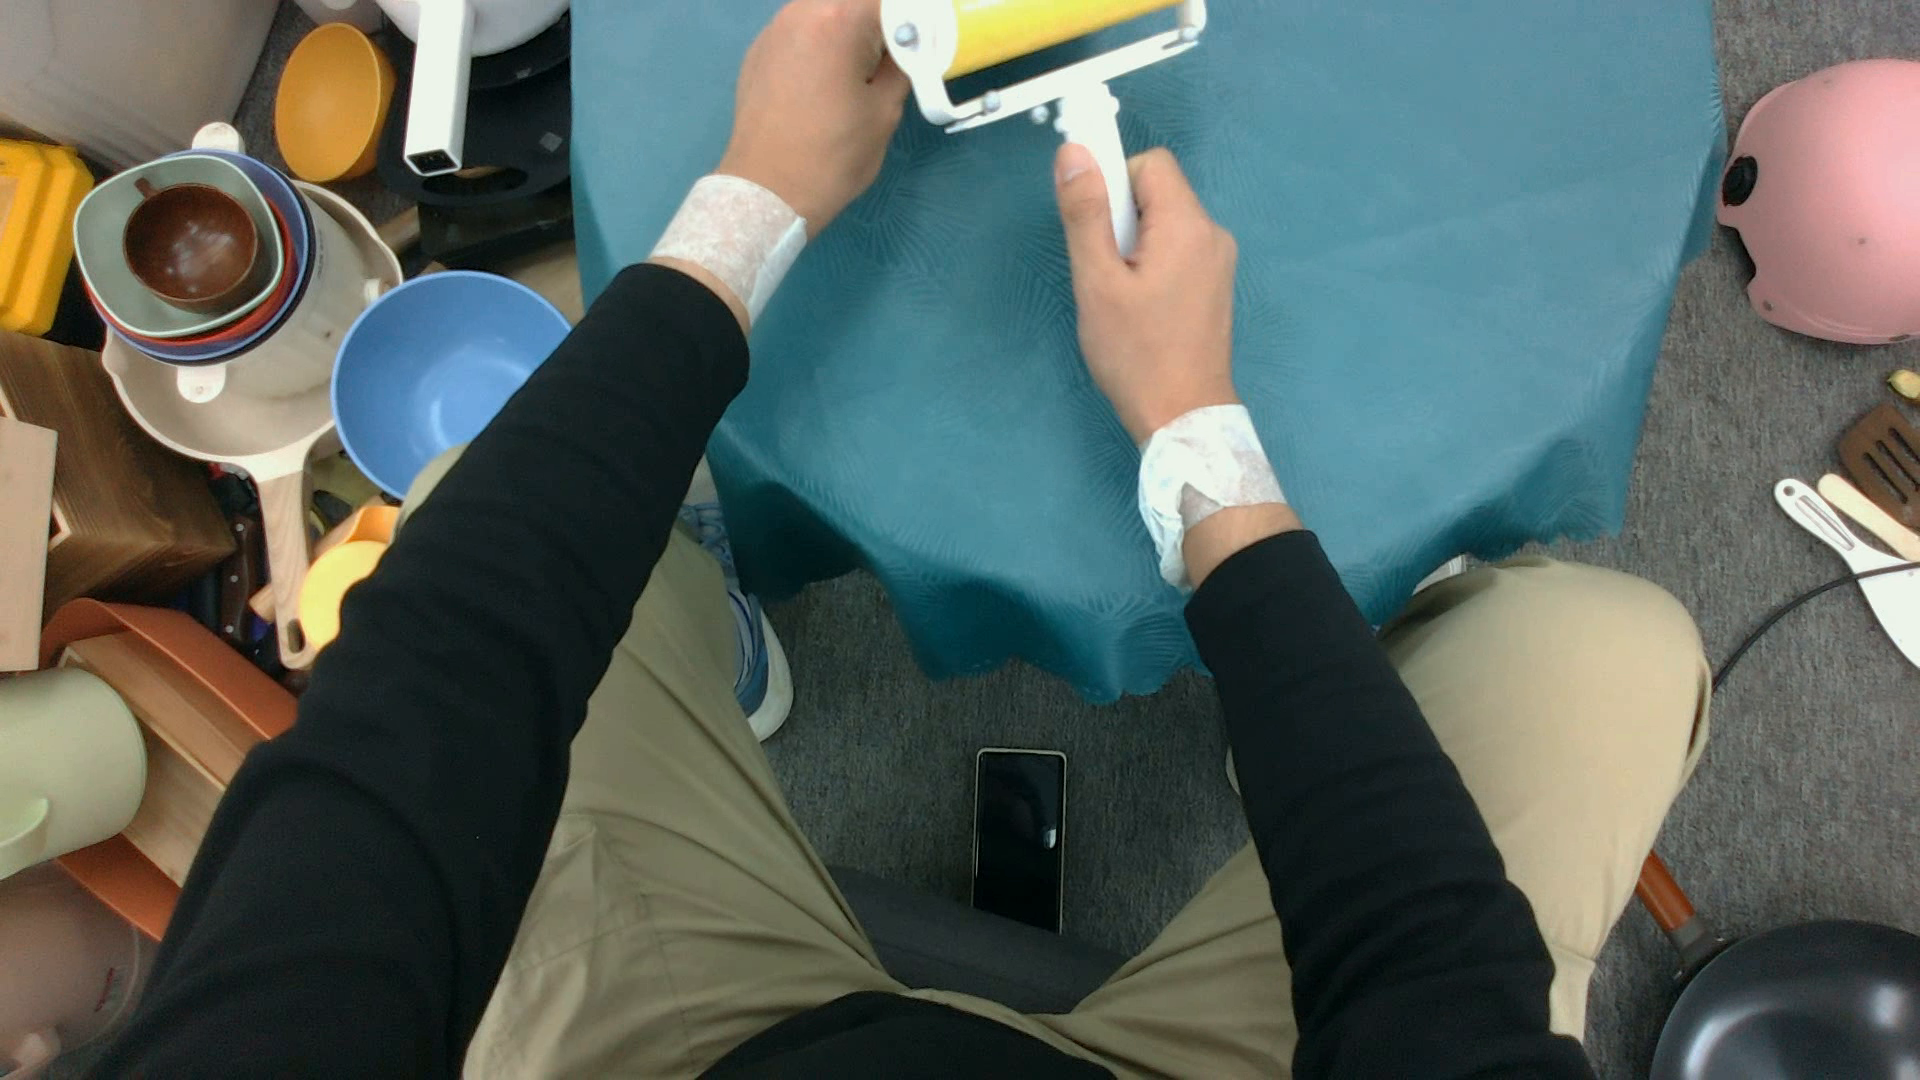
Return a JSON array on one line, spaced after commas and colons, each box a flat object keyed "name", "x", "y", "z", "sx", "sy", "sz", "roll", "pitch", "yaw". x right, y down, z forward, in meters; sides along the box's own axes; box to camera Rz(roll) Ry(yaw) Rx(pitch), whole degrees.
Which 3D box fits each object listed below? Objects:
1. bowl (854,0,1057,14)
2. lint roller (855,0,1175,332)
[{"name": "bowl", "x": -0.002, "y": -0.296, "z": 0.694, "sx": 0.118, "sy": 0.070, "sz": 0.118, "roll": 0, "pitch": 81, "yaw": 3}, {"name": "lint roller", "x": 0.060, "y": -0.188, "z": 0.626, "sx": 0.175, "sy": 0.051, "sz": 0.192, "roll": -32, "pitch": 99, "yaw": -35}]
